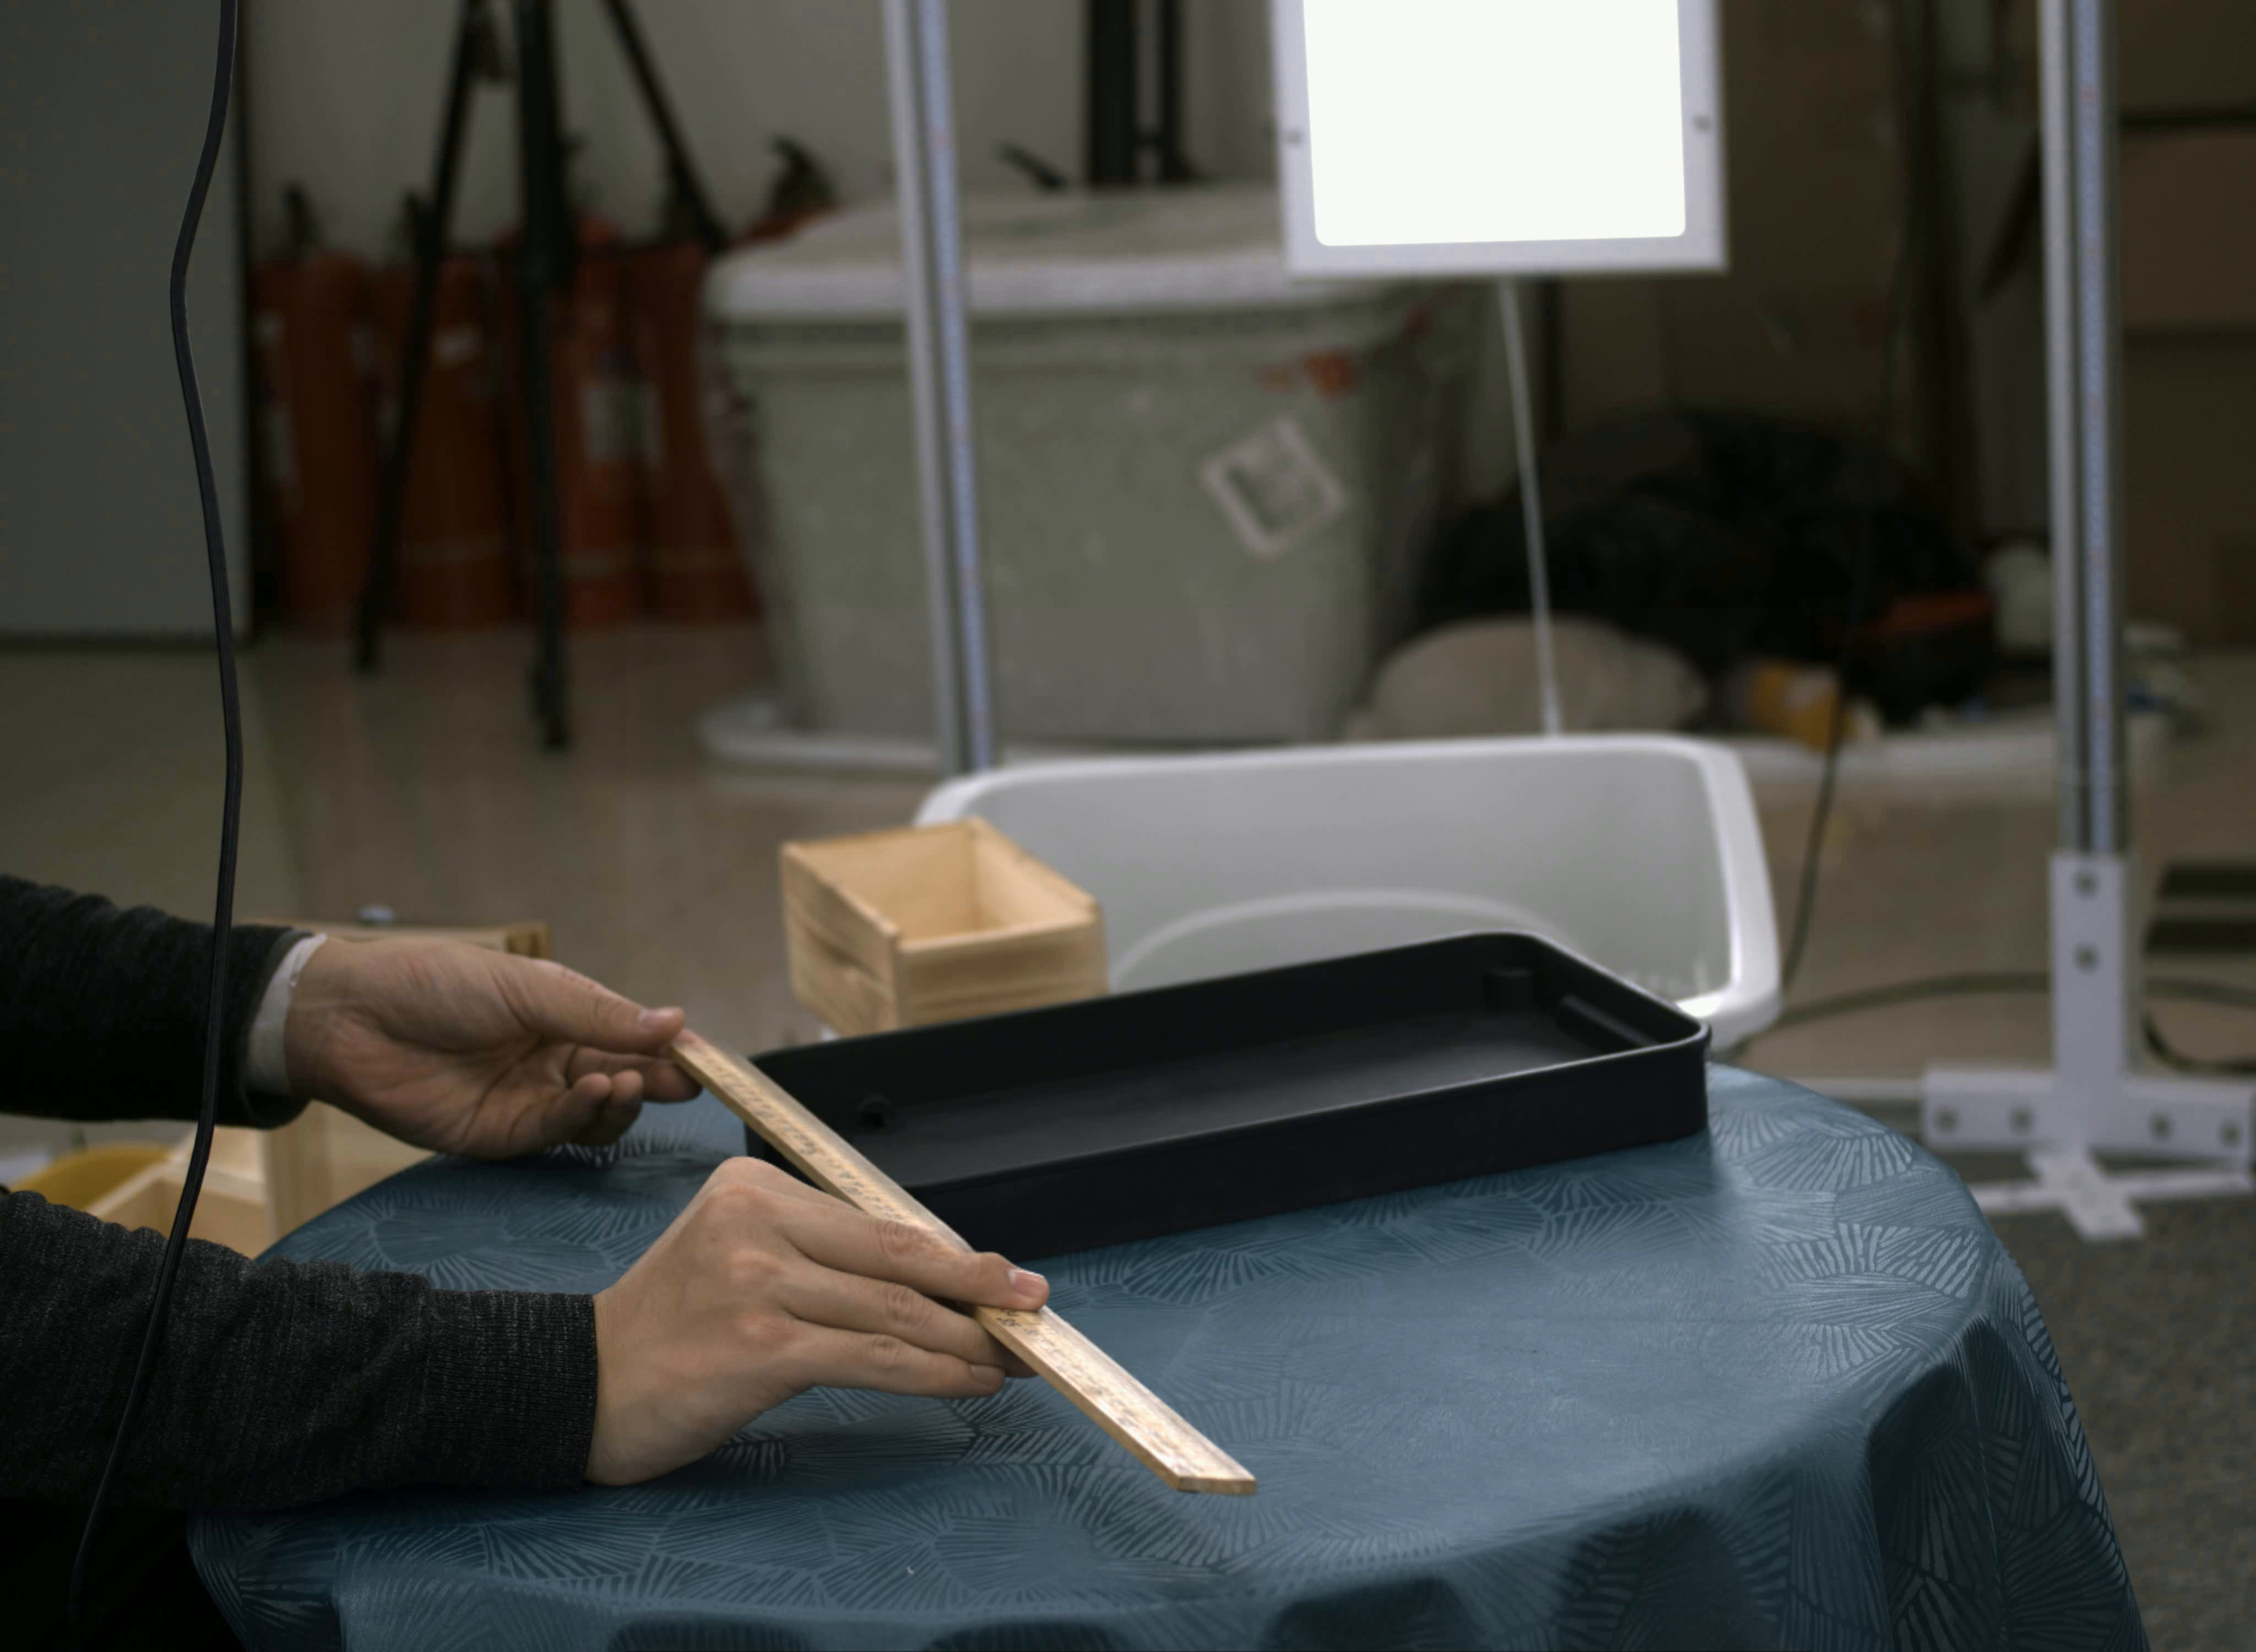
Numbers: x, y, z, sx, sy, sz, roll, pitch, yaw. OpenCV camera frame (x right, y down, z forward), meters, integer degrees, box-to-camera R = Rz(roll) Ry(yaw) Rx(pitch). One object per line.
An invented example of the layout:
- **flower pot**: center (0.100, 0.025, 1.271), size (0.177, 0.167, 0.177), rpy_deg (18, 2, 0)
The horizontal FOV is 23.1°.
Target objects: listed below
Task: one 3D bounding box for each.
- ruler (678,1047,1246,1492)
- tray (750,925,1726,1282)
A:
- **ruler**: center (-0.065, 0.131, 1.741), size (0.026, 0.006, 0.506), rpy_deg (2, 11, -21)
- **tray**: center (0.038, 0.094, 1.943), size (0.313, 0.037, 0.186), rpy_deg (-10, 14, -18)
